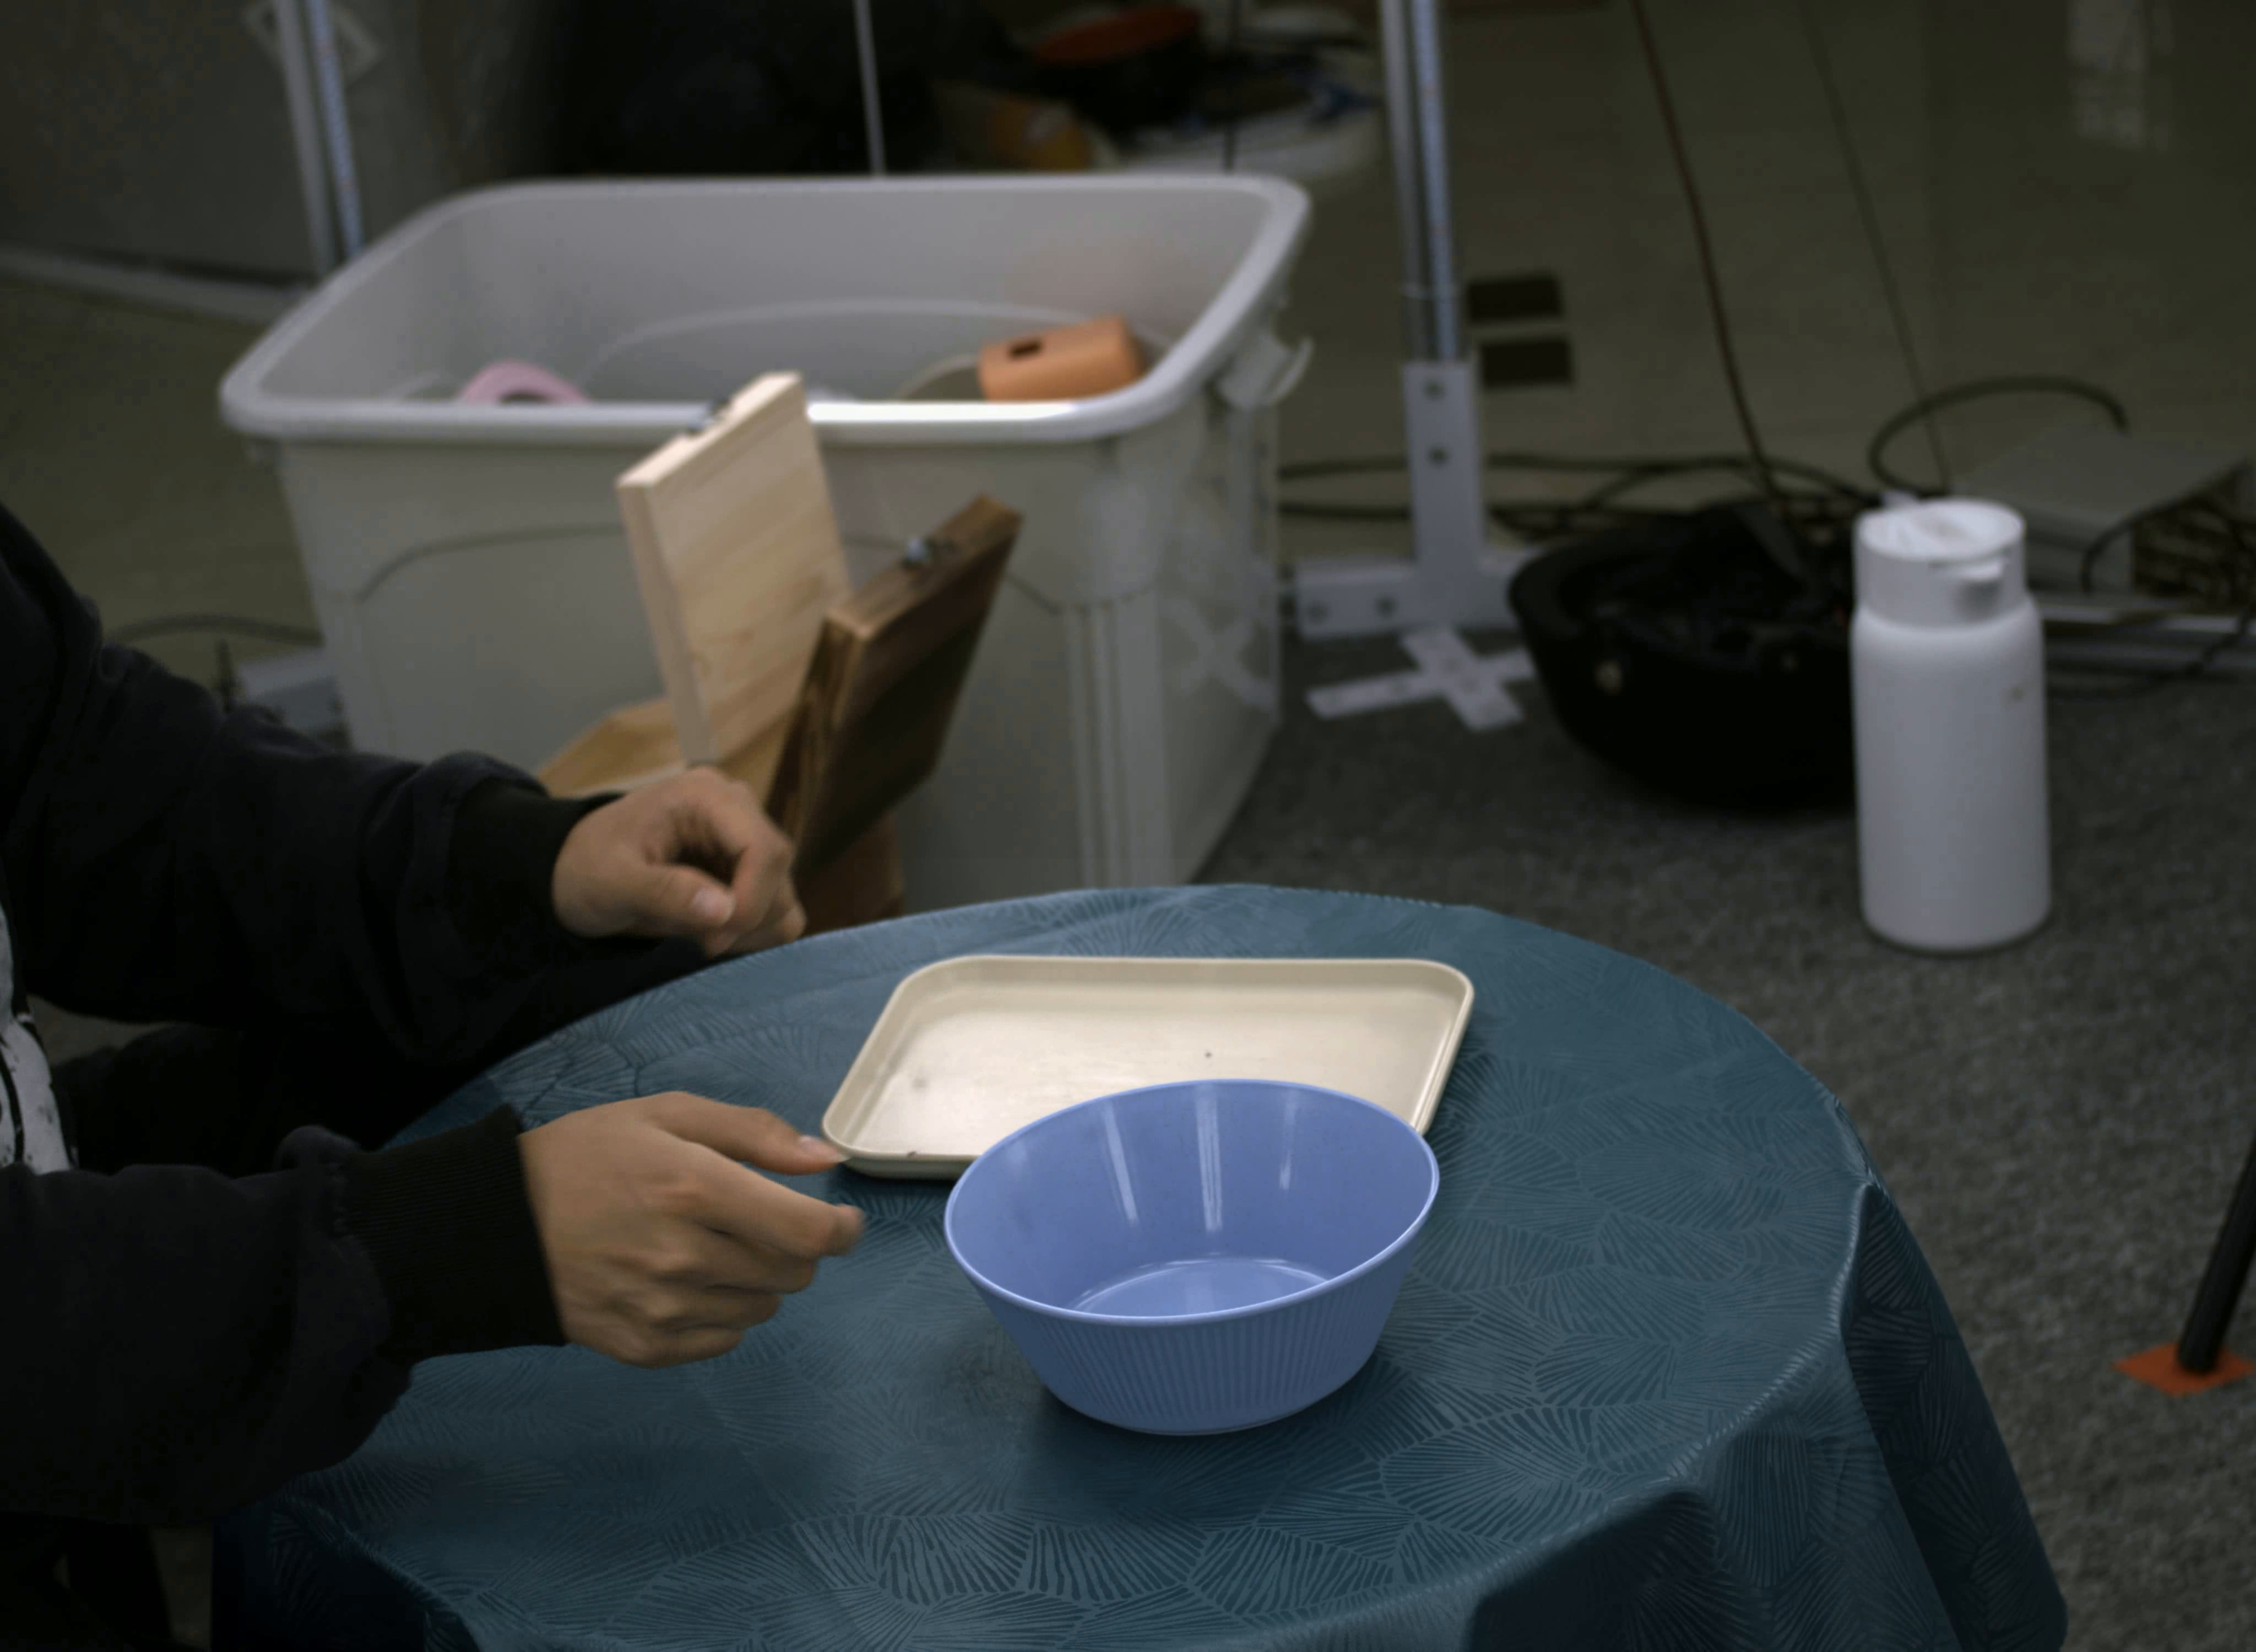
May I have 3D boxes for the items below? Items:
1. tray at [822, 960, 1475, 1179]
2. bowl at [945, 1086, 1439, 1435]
[{"bbox_3d":[0.010,0.097,2.220,0.239,0.018,0.169,0,25,14],"label":"tray"},{"bbox_3d":[0.026,0.160,2.016,0.176,0.071,0.173,-5,24,3],"label":"bowl"}]
